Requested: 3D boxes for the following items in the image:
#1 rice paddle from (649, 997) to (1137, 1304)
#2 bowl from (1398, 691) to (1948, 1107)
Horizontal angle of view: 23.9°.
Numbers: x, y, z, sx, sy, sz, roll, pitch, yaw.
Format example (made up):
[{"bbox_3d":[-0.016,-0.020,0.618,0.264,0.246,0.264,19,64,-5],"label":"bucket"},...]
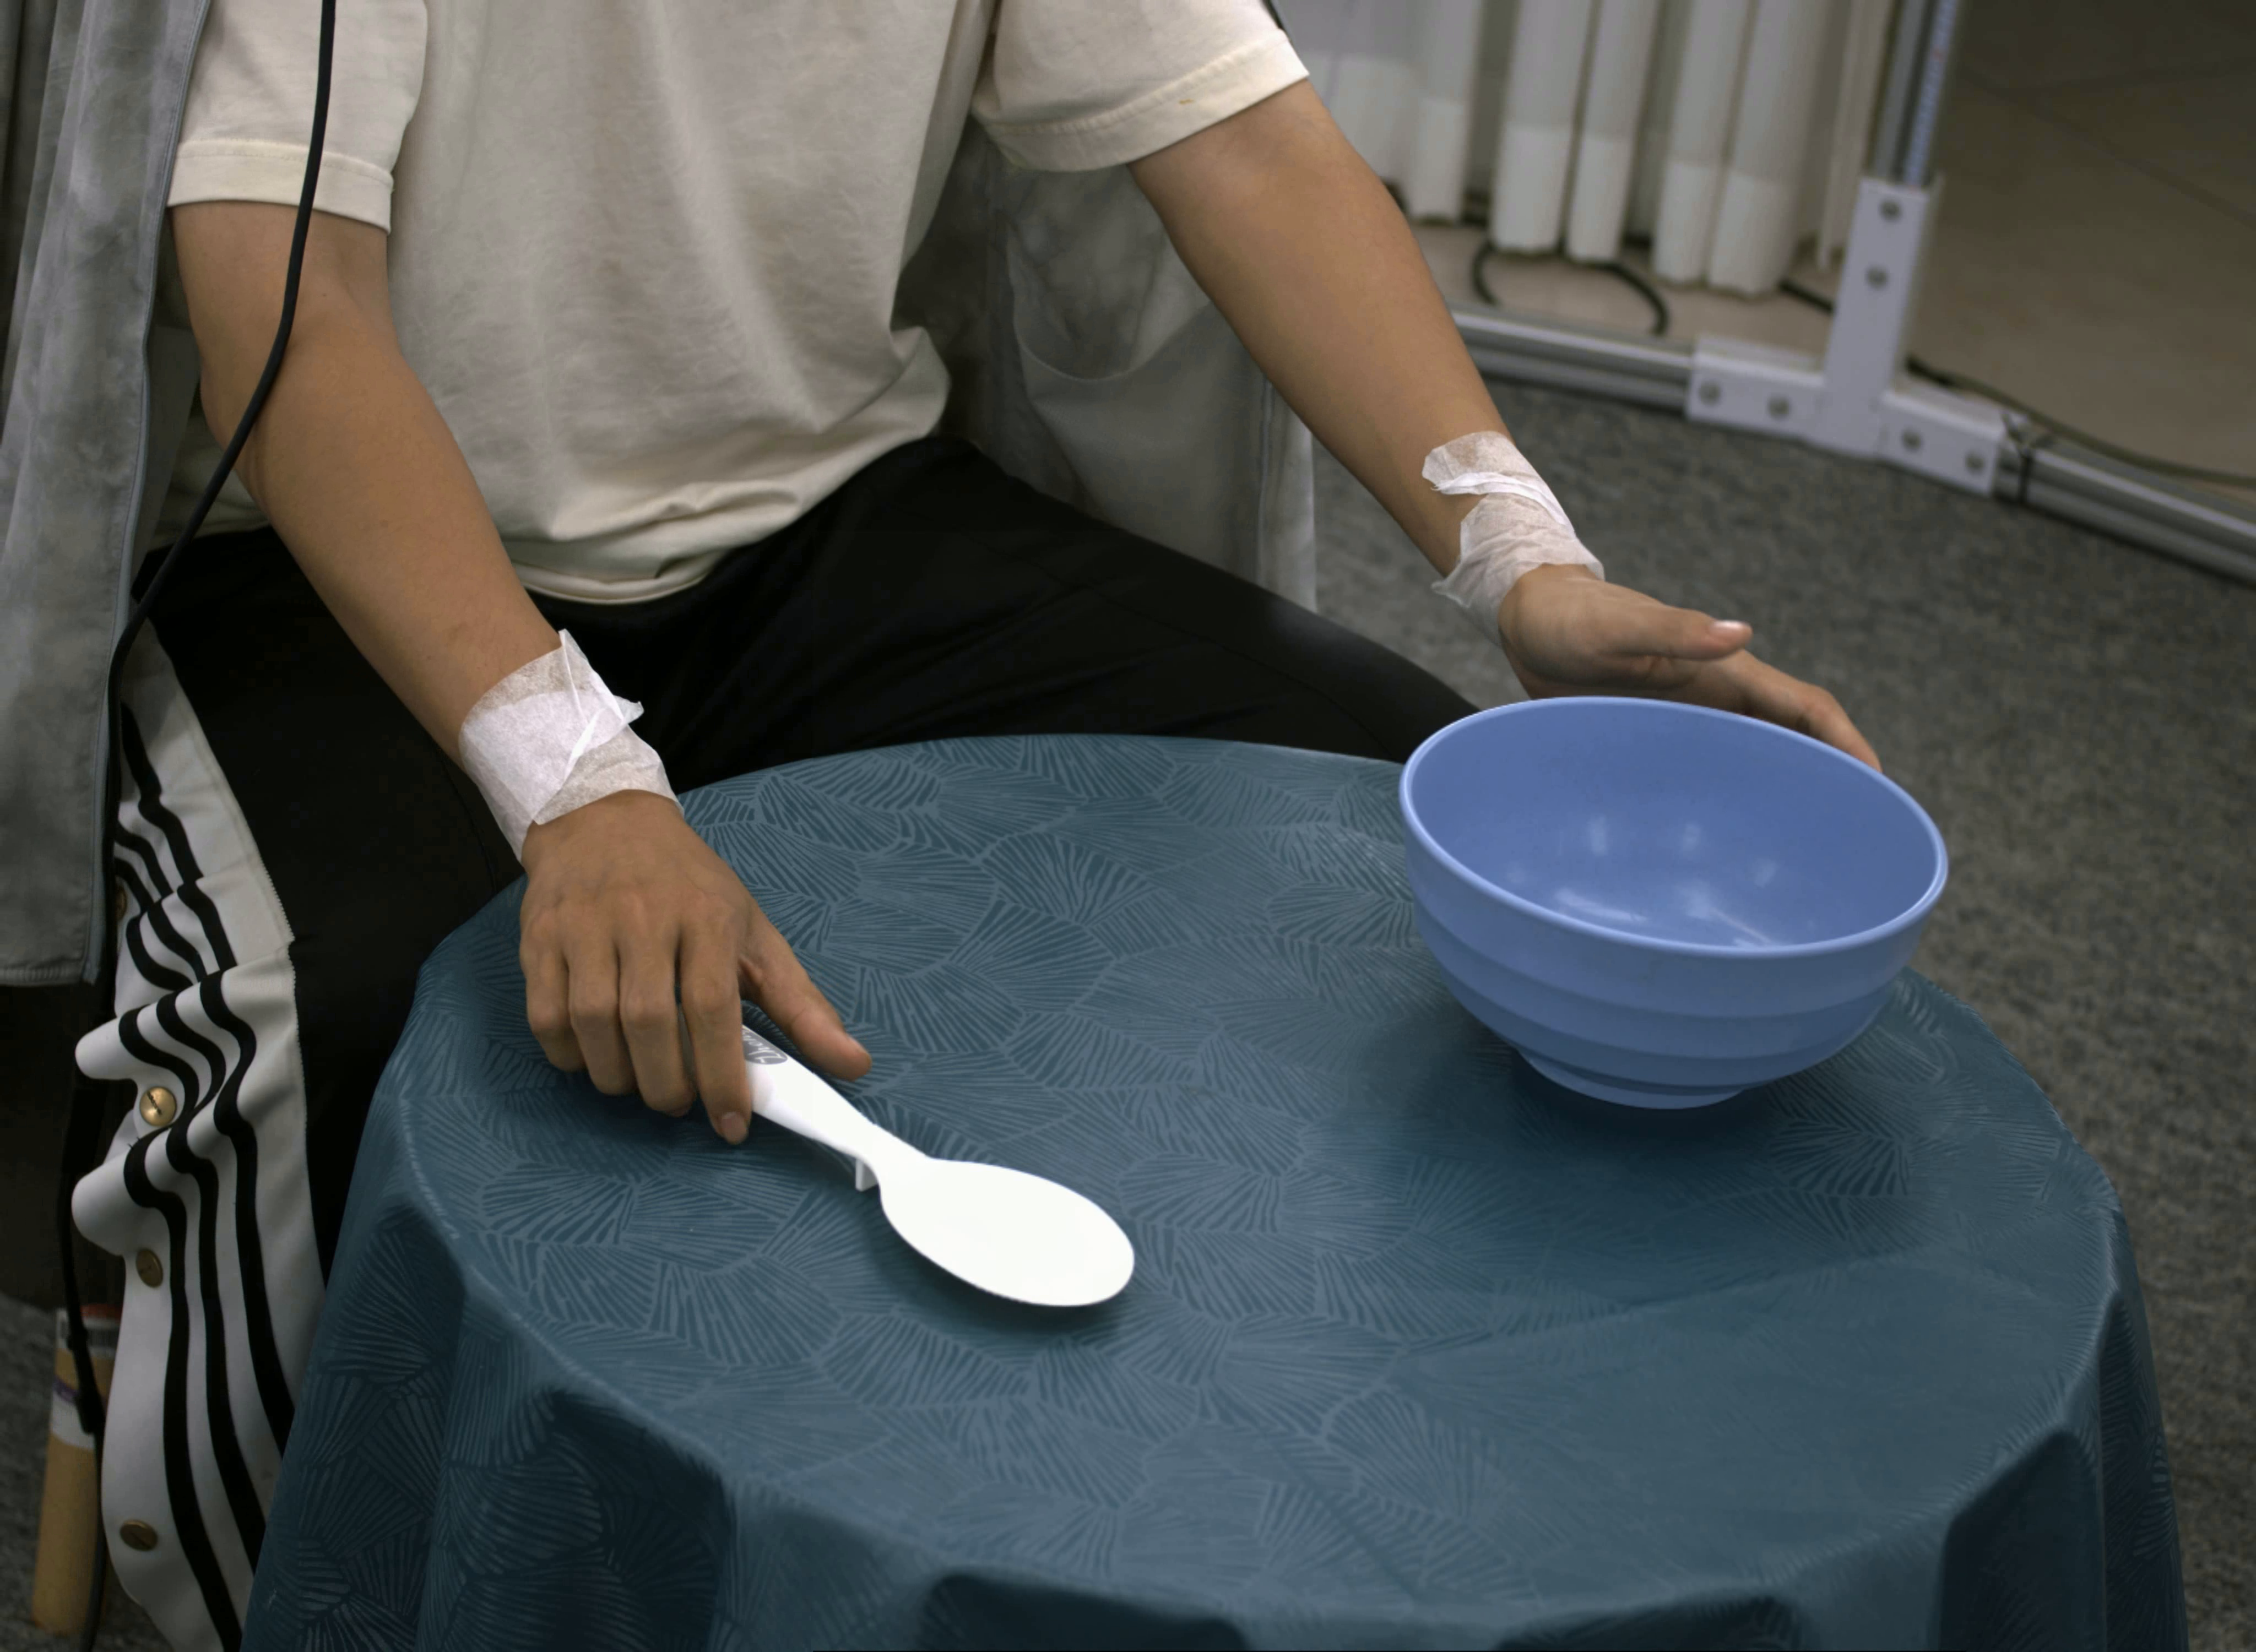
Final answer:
[{"bbox_3d":[-0.079,0.110,1.780,0.207,0.029,0.068,27,35,35],"label":"rice paddle"},{"bbox_3d":[0.189,0.037,1.911,0.196,0.095,0.198,5,28,-3],"label":"bowl"}]
